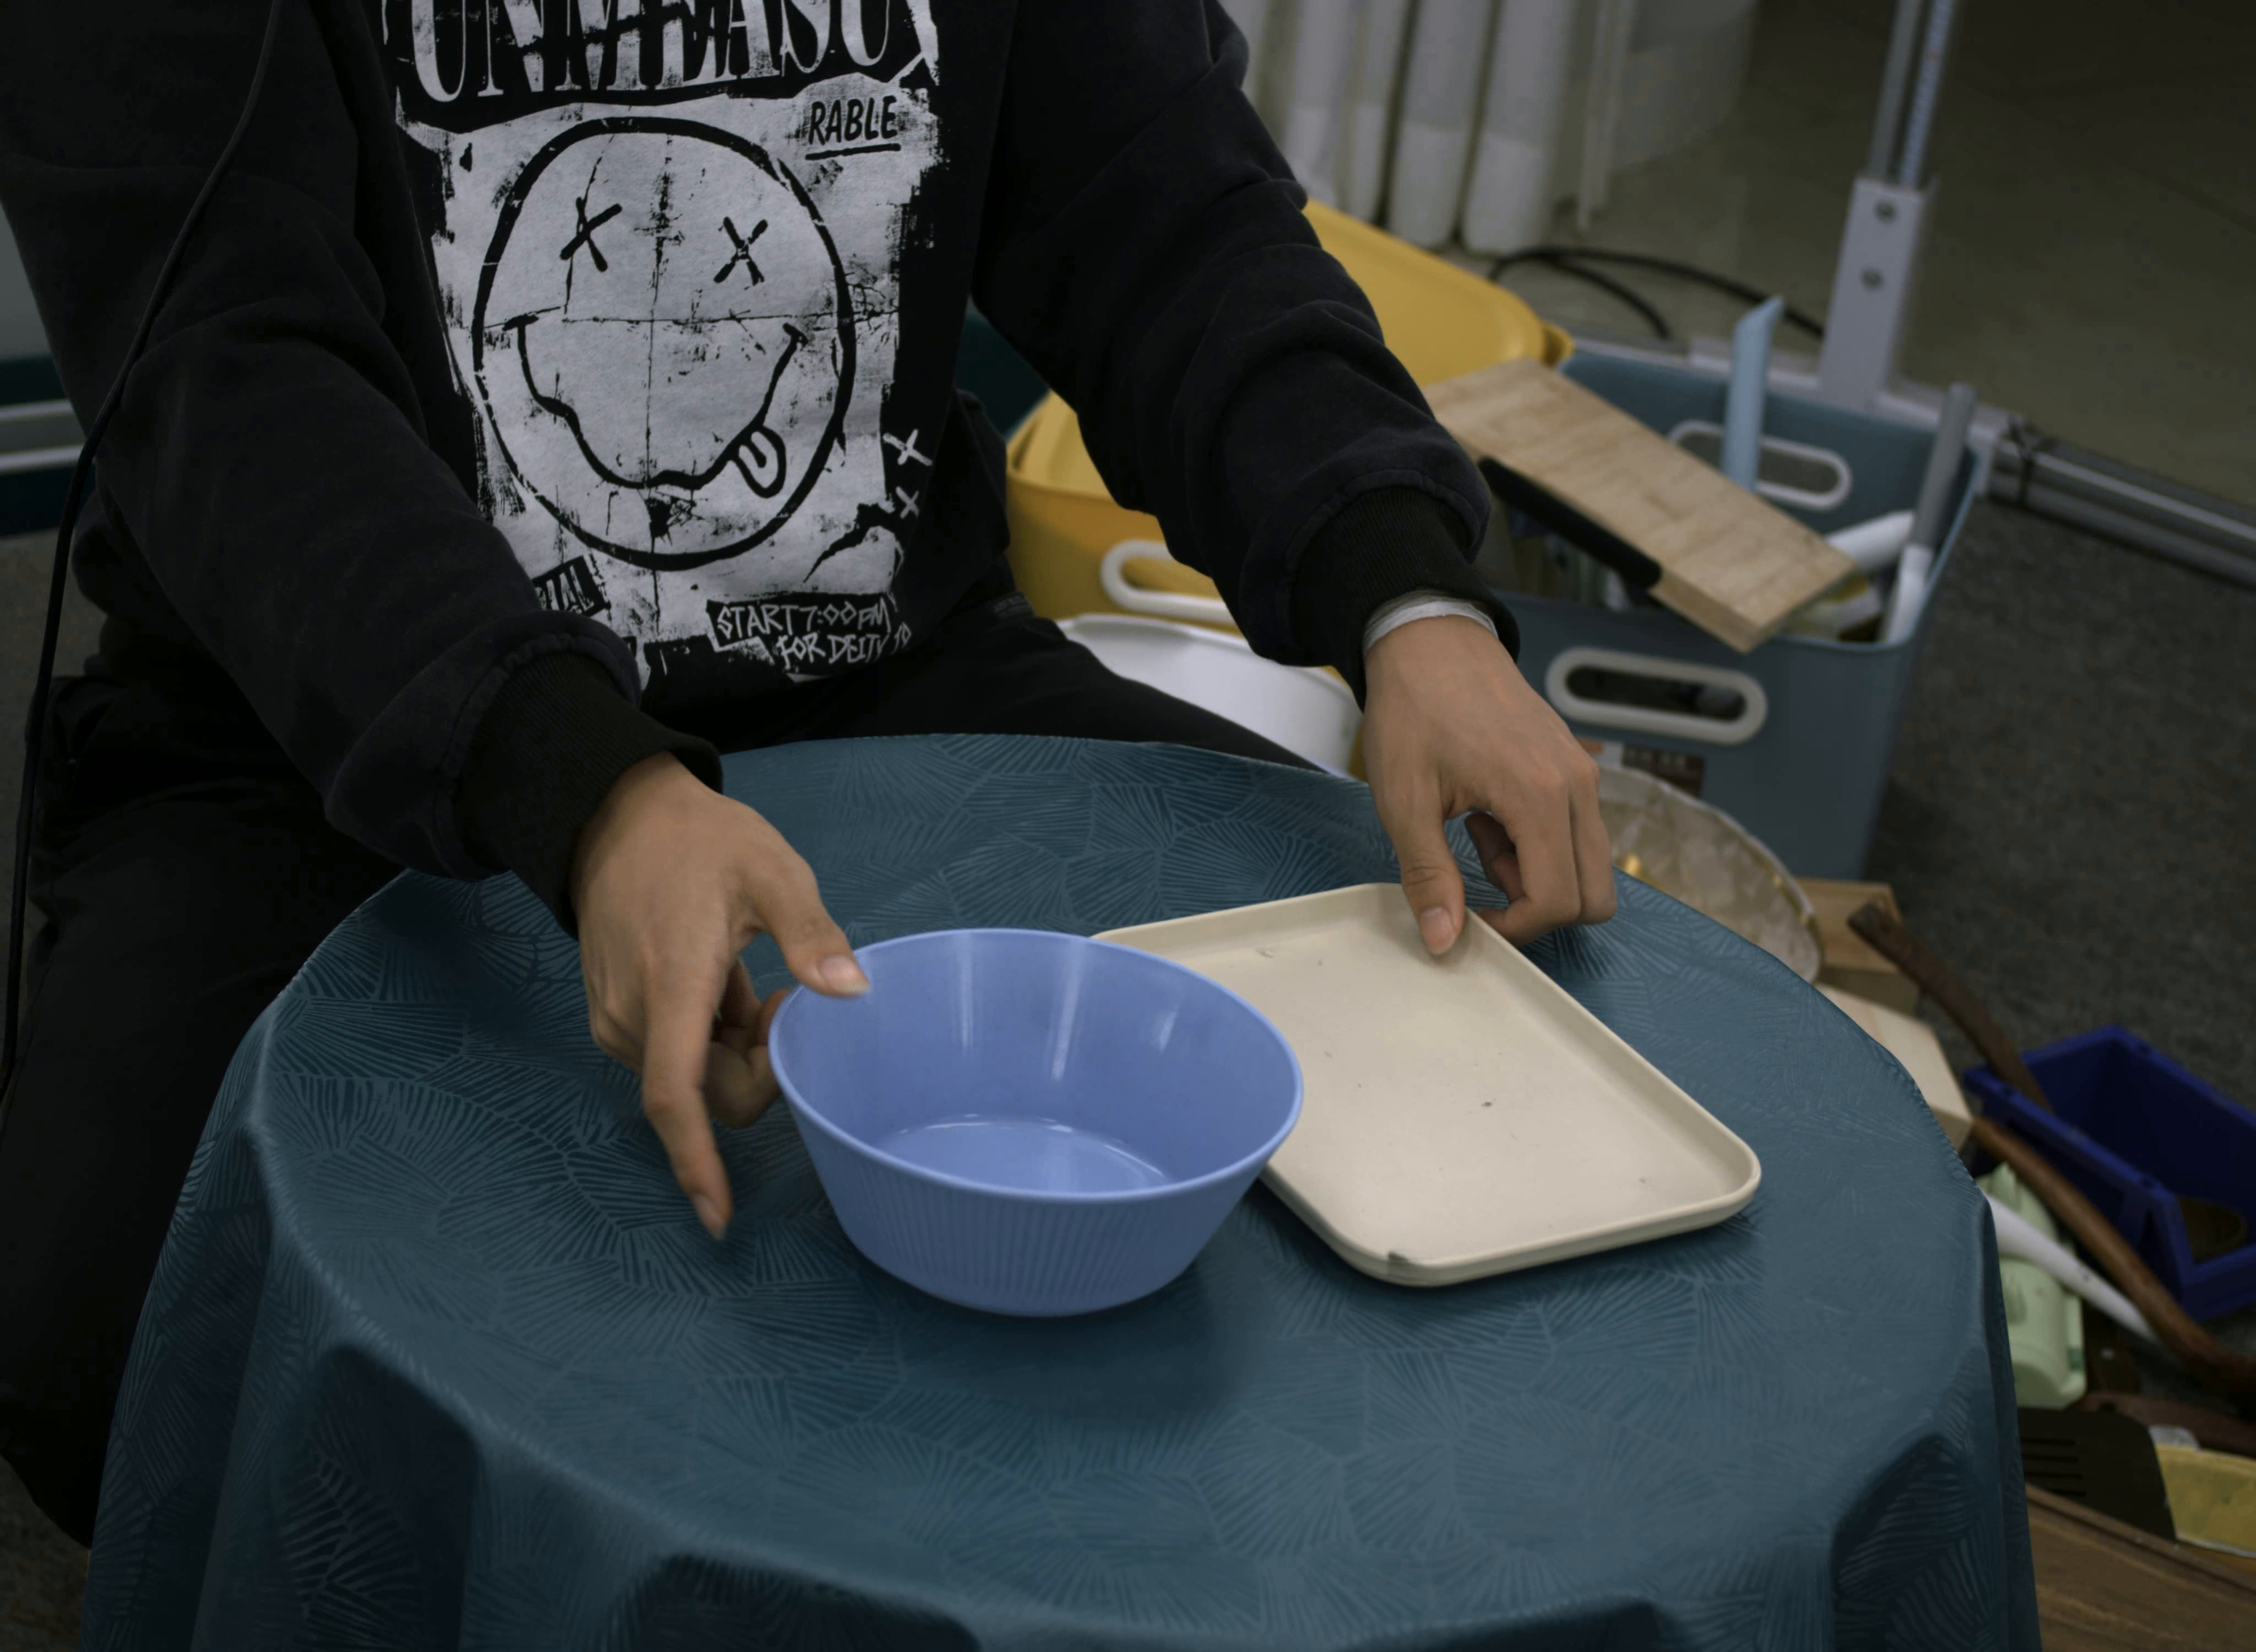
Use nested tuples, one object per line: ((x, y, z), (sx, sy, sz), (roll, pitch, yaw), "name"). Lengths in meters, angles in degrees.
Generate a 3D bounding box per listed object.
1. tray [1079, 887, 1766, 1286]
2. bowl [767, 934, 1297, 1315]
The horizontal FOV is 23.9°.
((0.098, 0.090, 1.870), (0.170, 0.017, 0.242), (-9, 30, -29), "tray")
((-0.035, 0.104, 1.753), (0.175, 0.070, 0.177), (6, 26, -3), "bowl")
